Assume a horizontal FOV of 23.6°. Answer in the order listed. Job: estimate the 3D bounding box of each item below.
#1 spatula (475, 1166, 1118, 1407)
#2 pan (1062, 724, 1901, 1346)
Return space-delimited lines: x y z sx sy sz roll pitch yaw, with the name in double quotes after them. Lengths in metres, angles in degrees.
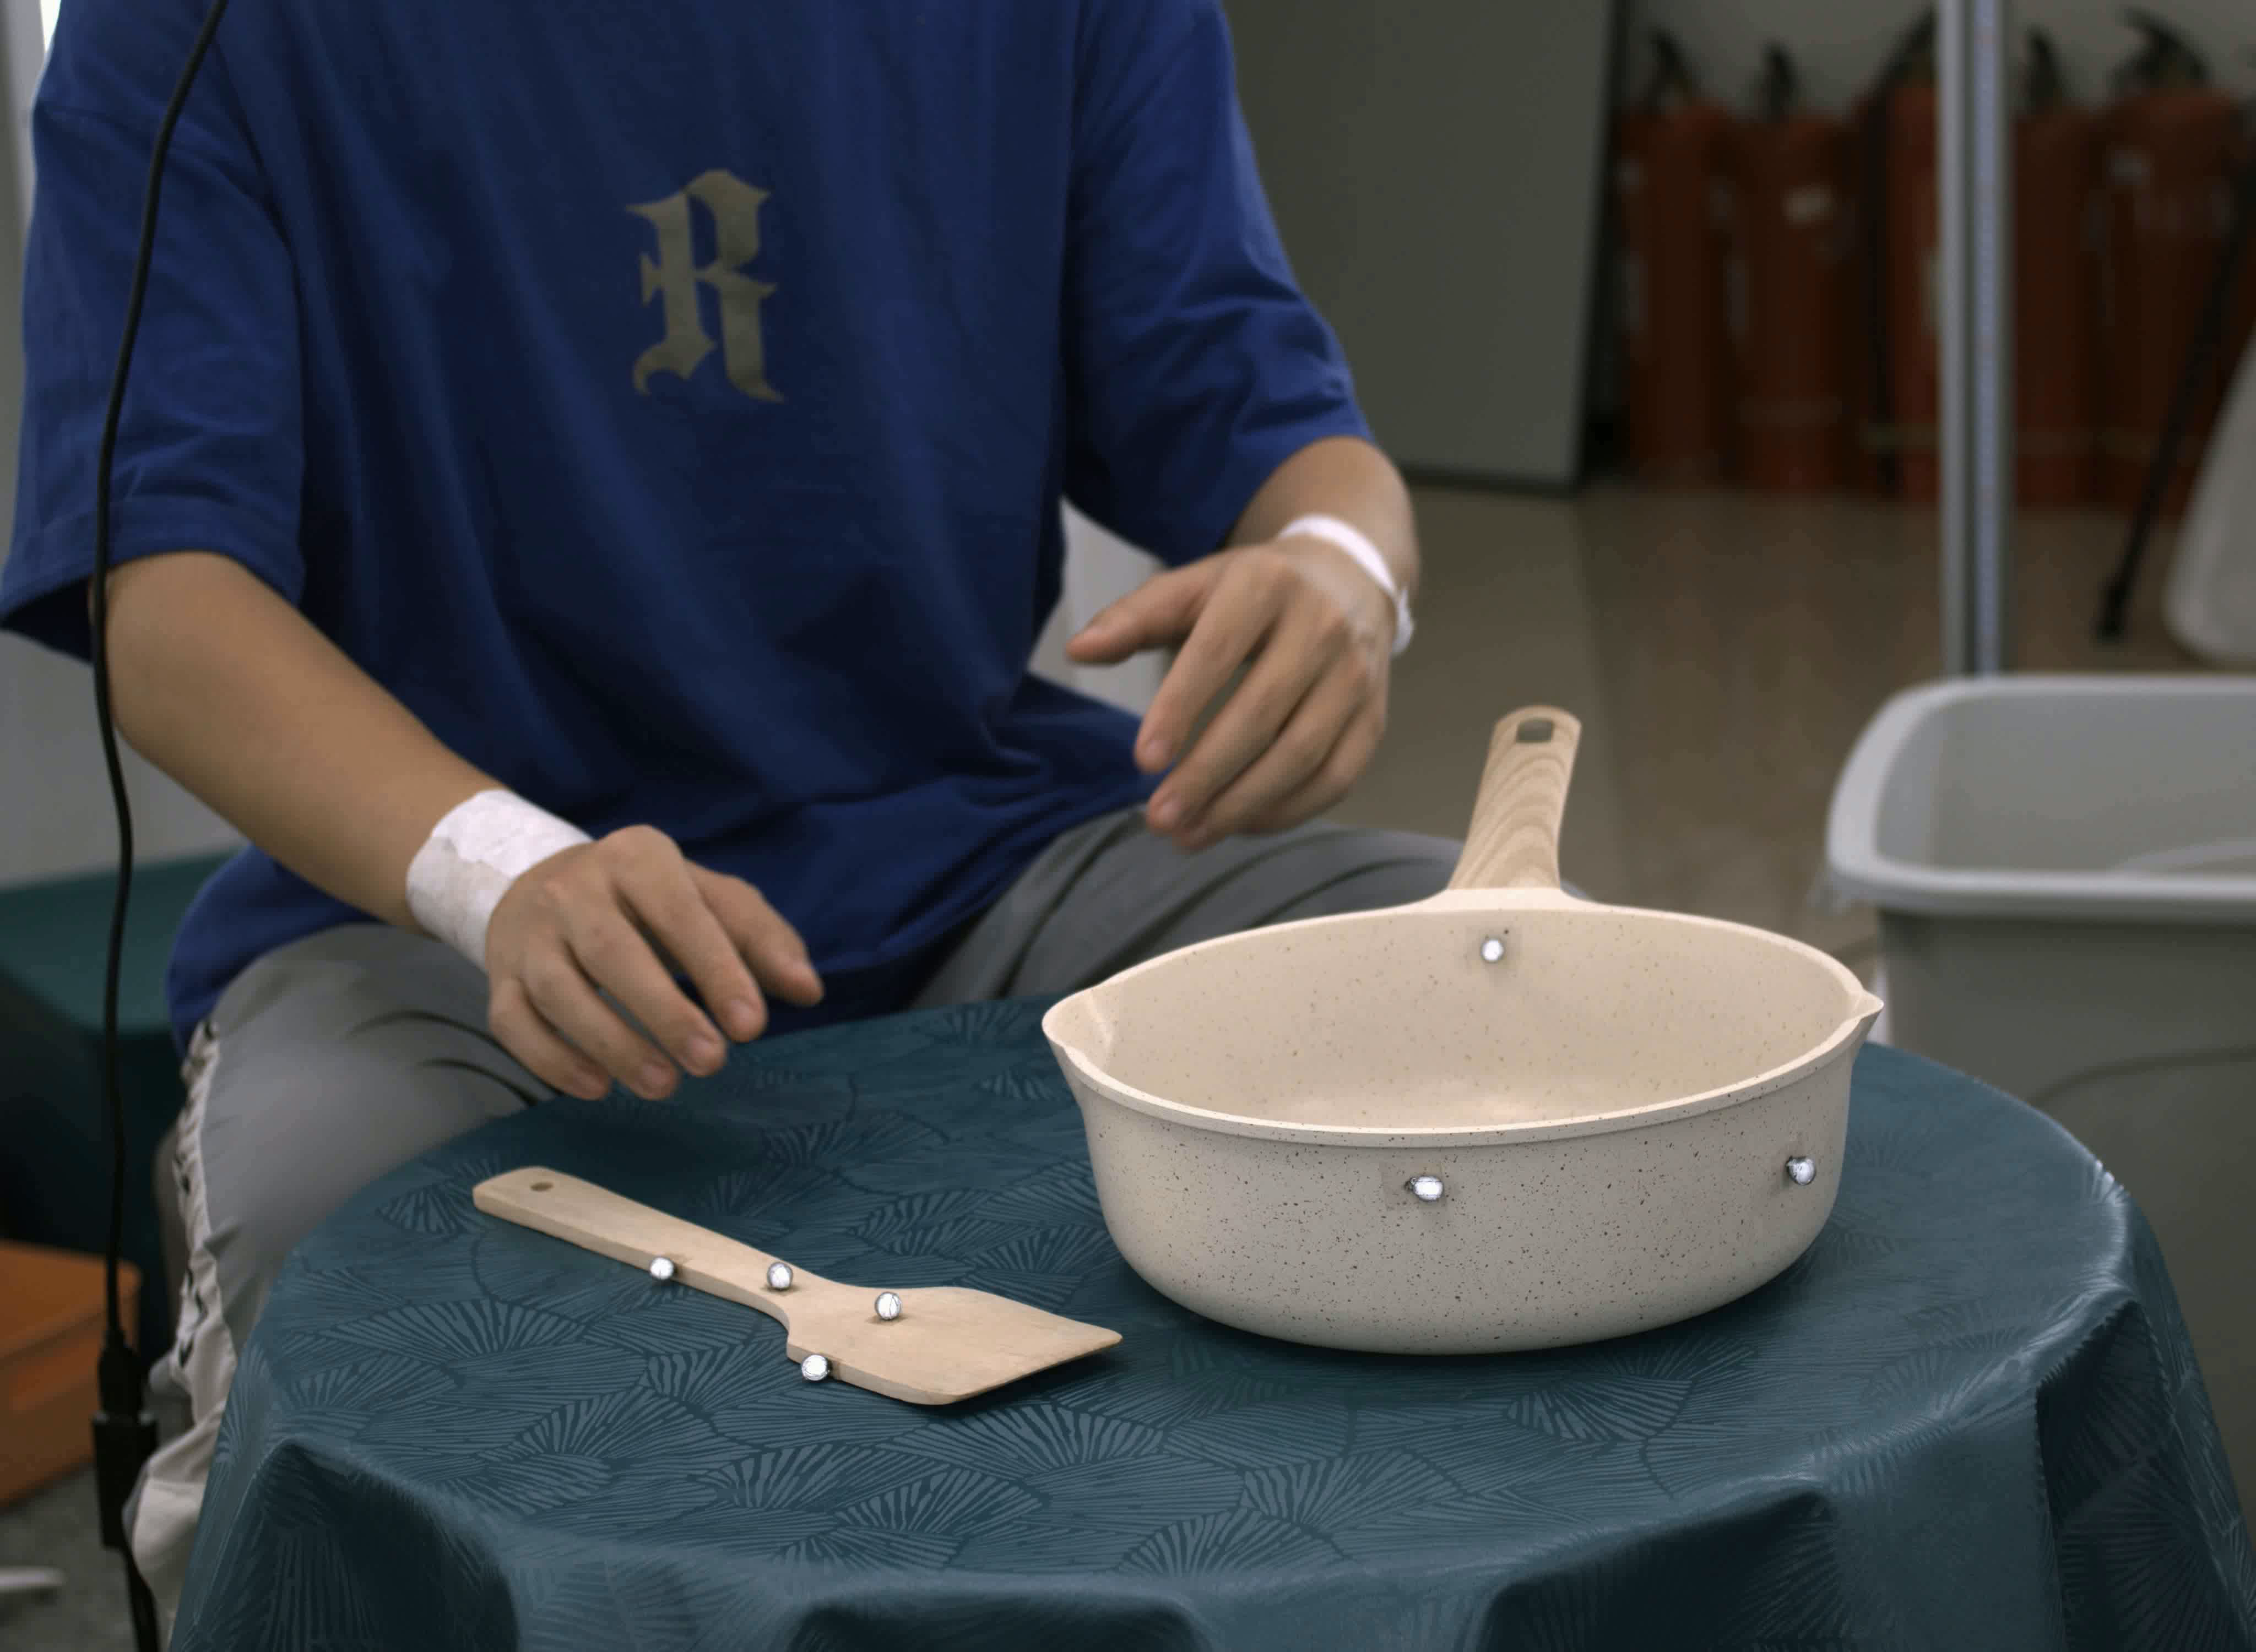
-0.119 0.142 1.701 0.071 0.011 0.296 -16 18 -36 "spatula"
0.123 0.064 1.759 0.261 0.103 0.433 -4 13 9 "pan"
